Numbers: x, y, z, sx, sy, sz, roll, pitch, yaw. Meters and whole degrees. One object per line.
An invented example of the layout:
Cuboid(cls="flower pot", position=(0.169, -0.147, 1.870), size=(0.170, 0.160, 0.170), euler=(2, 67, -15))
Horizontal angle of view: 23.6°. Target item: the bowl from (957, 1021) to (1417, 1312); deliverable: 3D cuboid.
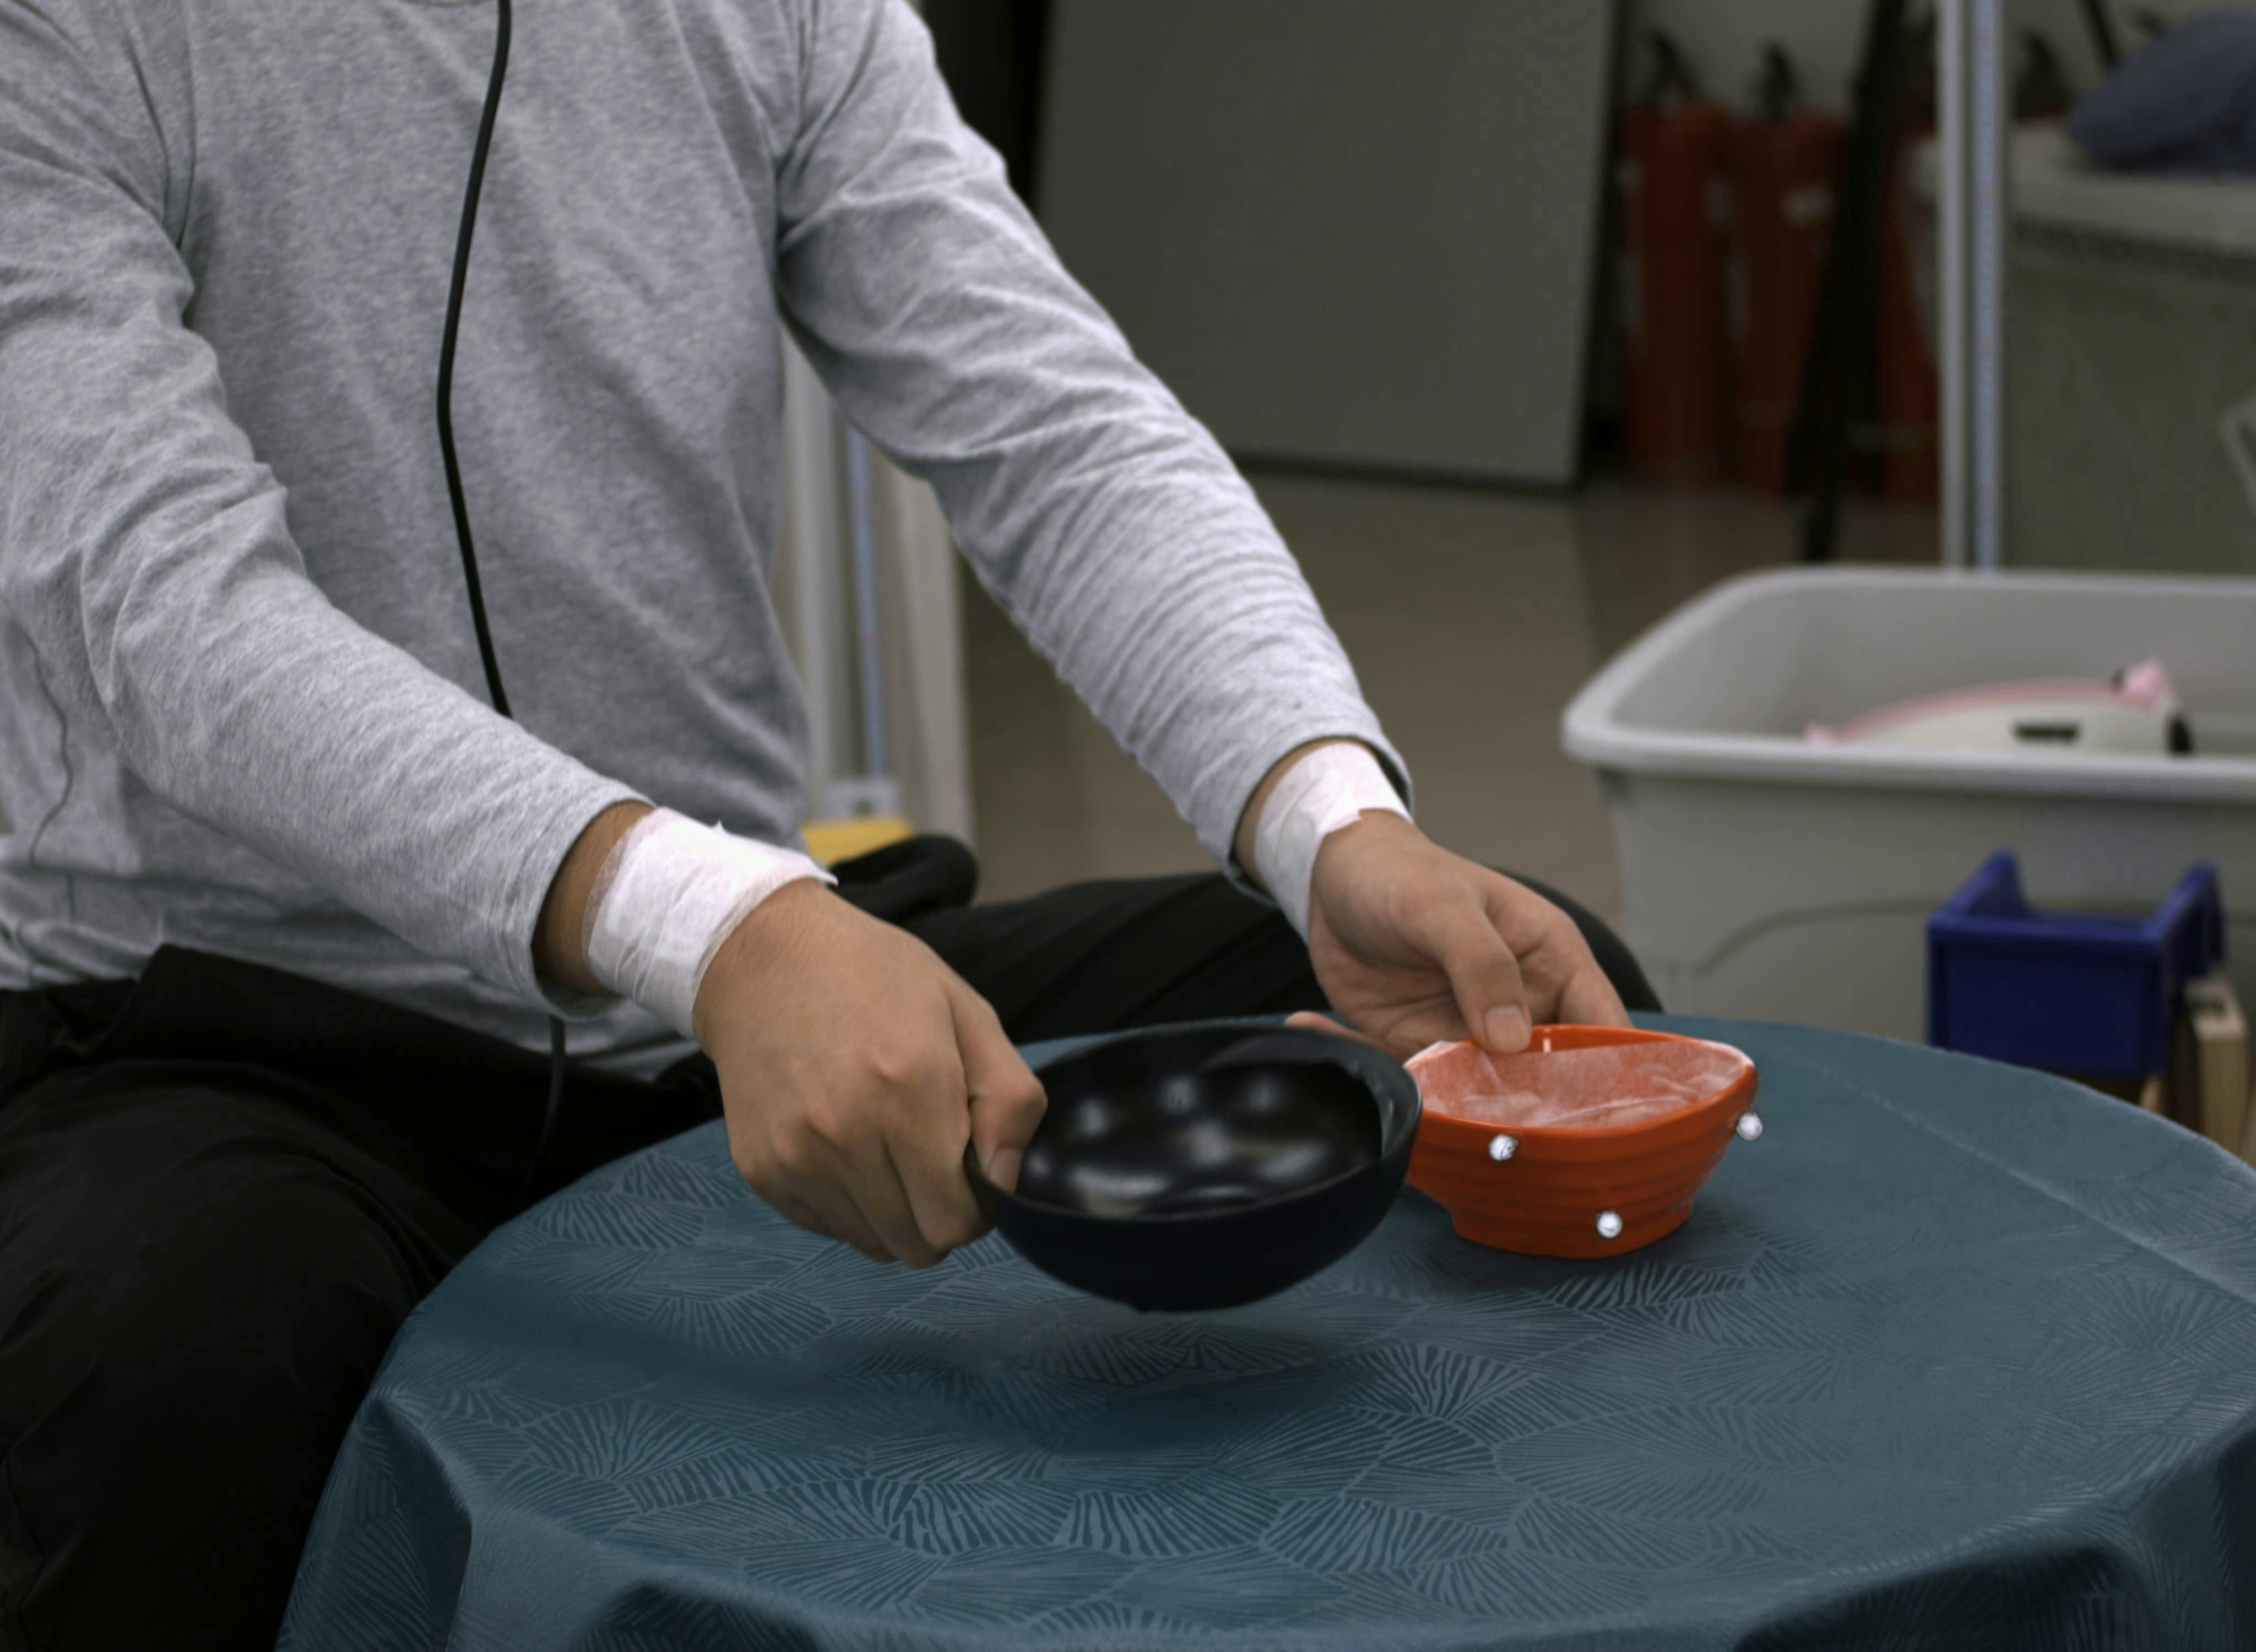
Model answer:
Cuboid(cls="bowl", position=(0.021, 0.107, 1.600), size=(0.138, 0.050, 0.140), euler=(-9, 18, 2))

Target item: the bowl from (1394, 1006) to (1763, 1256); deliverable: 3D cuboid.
Cuboid(cls="bowl", position=(0.143, 0.099, 1.704), size=(0.117, 0.052, 0.119), euler=(-2, 16, 0))
